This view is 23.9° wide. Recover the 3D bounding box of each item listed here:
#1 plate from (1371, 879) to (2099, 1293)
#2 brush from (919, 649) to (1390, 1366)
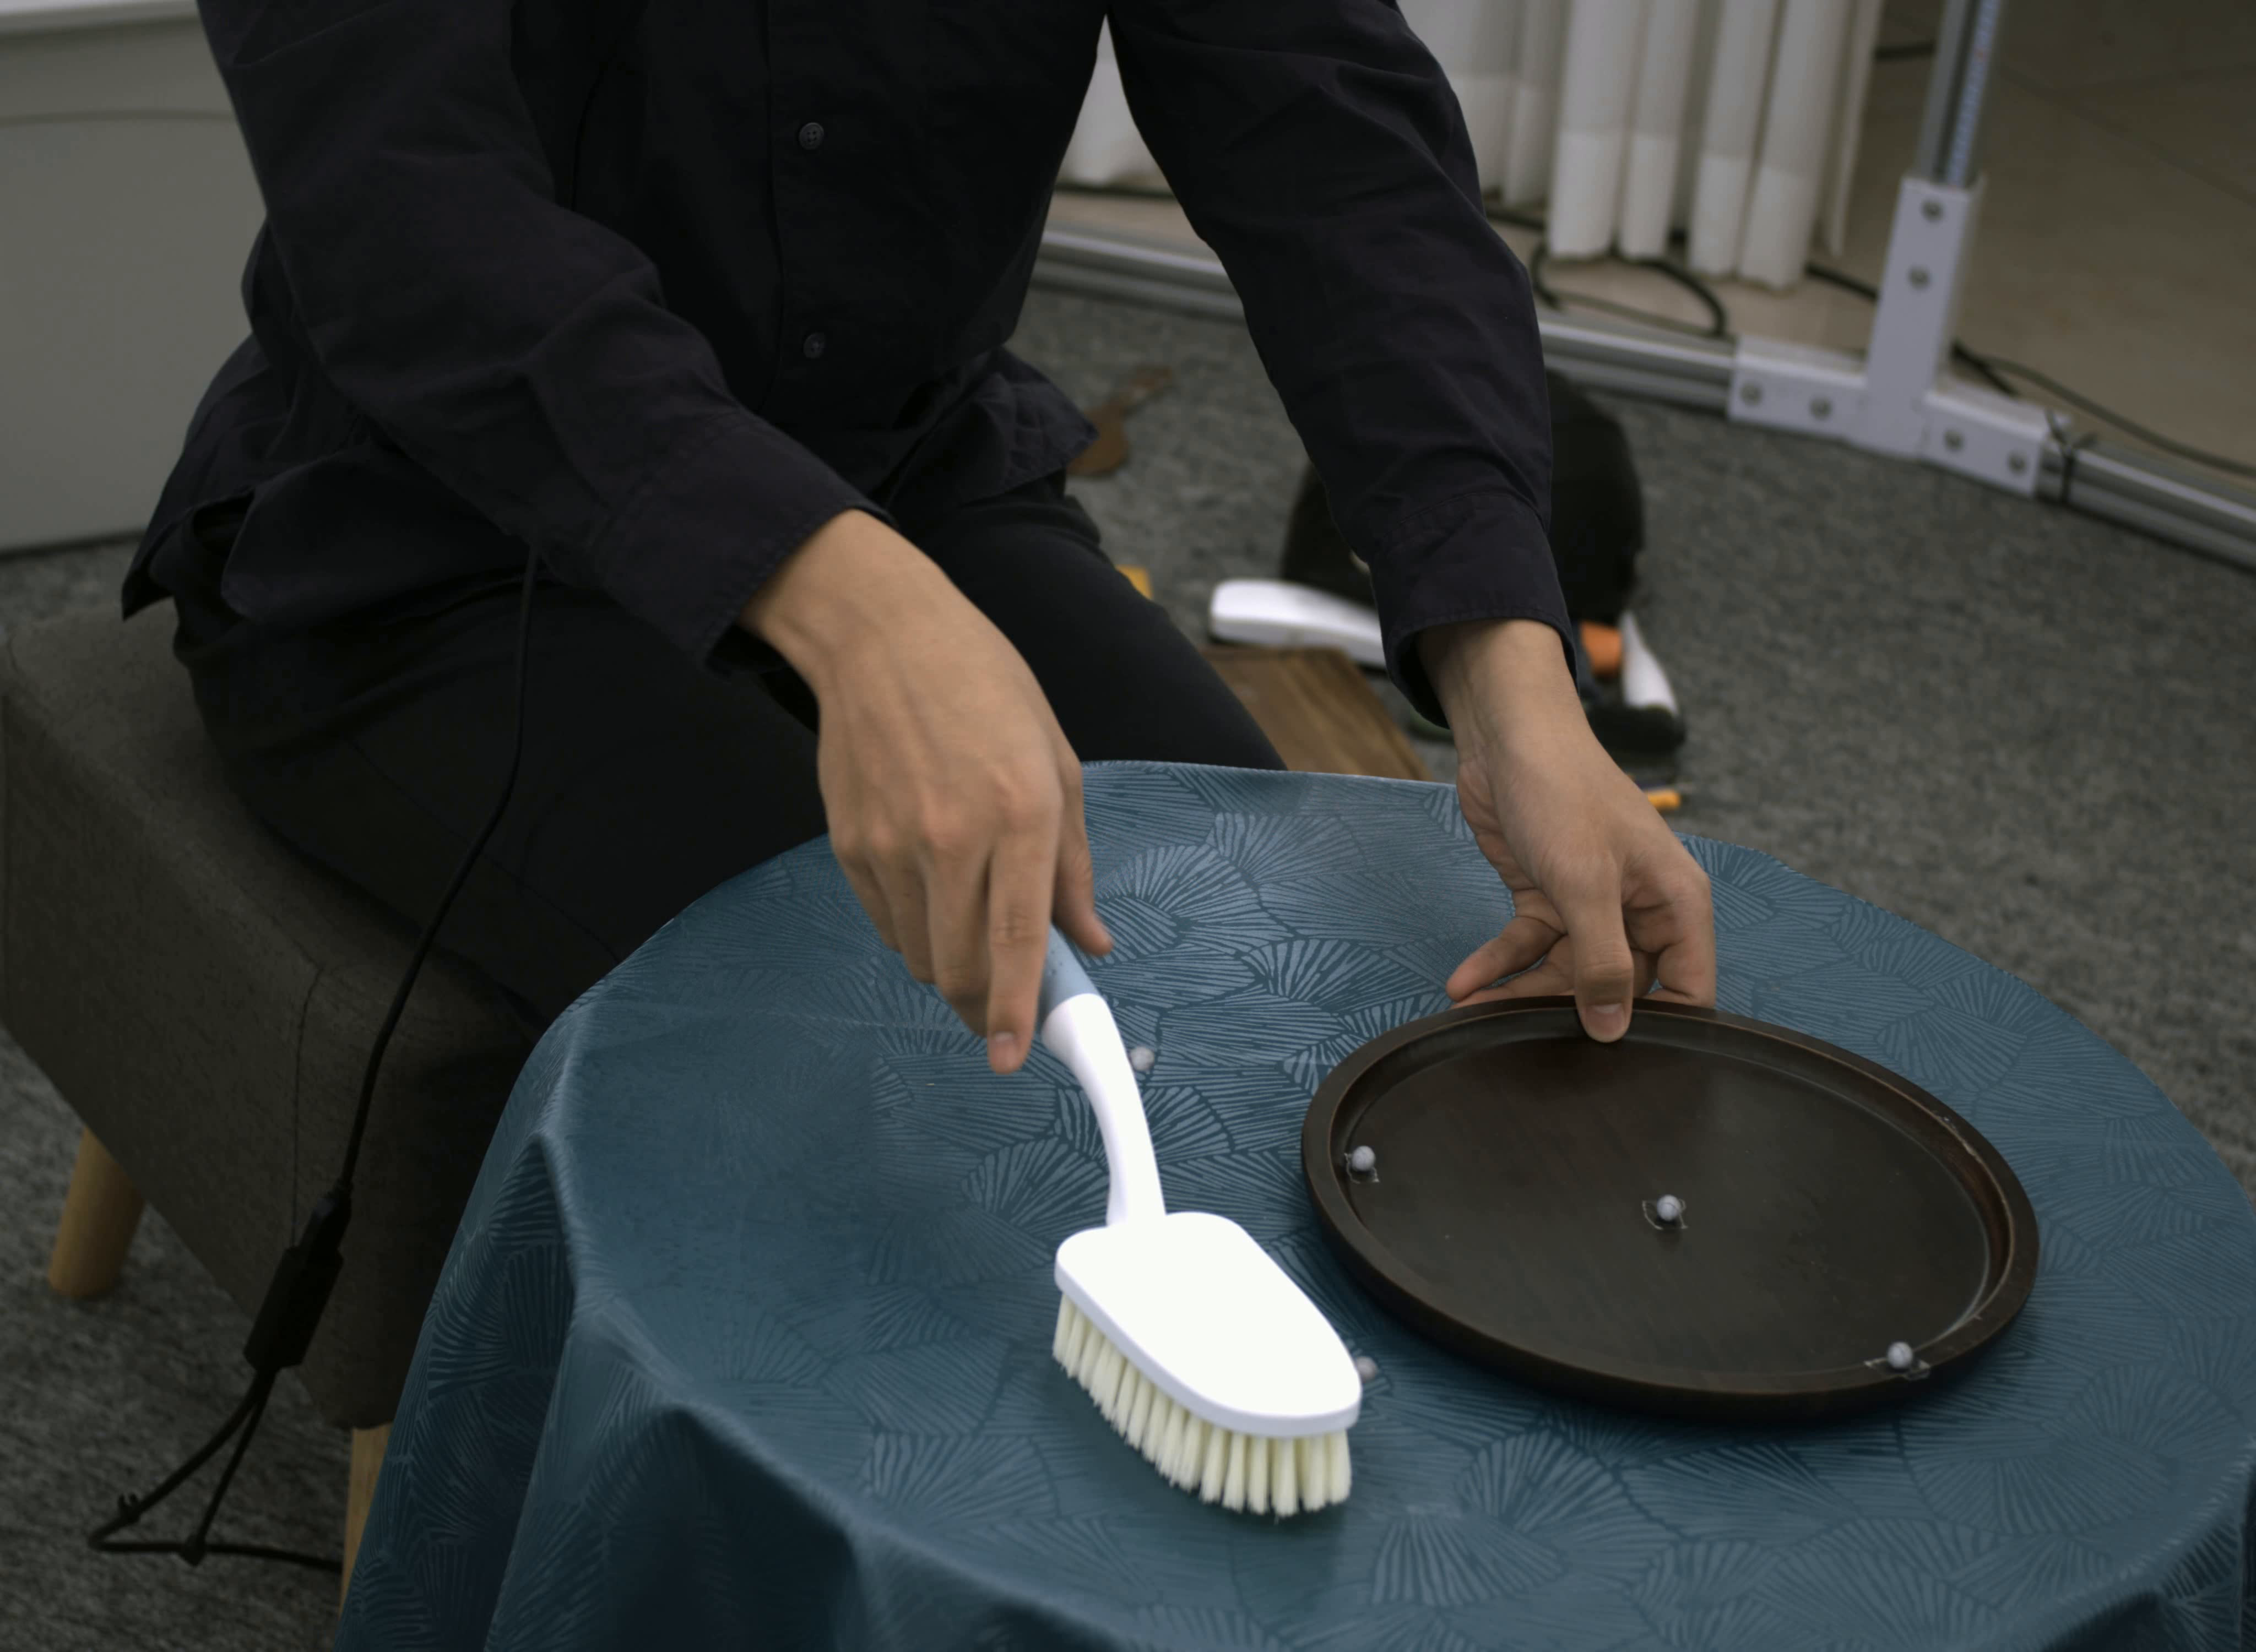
[{"bbox_3d":[0.208,0.088,1.835,0.254,0.029,0.256,4,28,-2],"label":"plate"},{"bbox_3d":[0.002,0.067,1.766,0.082,0.084,0.328,31,18,-46],"label":"brush"}]
